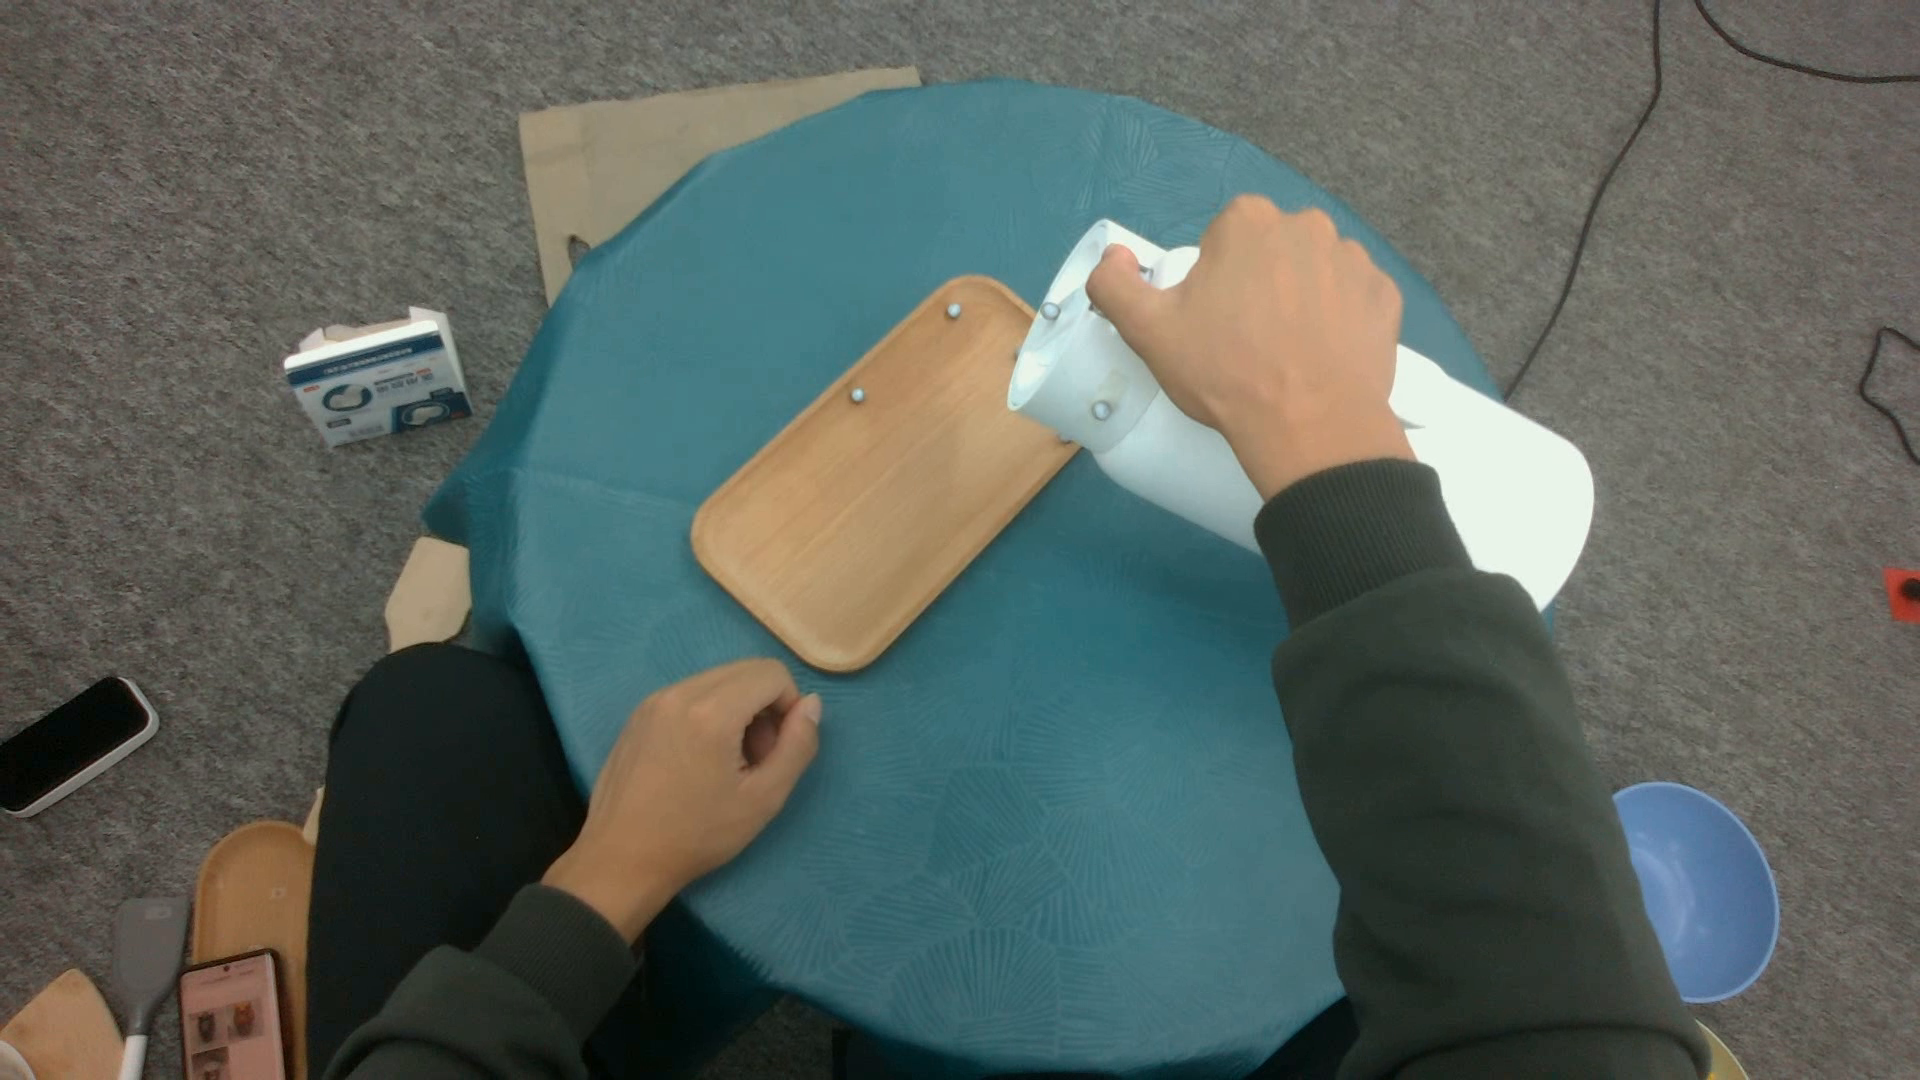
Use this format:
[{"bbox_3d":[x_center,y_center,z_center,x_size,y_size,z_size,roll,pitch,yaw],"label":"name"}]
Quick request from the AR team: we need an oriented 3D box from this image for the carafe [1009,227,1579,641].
[{"bbox_3d":[0.168,-0.055,0.666,0.269,0.172,0.124,26,75,-12],"label":"carafe"}]

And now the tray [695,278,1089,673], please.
[{"bbox_3d":[-0.028,-0.042,0.790,0.130,0.023,0.251,41,69,10],"label":"tray"}]
